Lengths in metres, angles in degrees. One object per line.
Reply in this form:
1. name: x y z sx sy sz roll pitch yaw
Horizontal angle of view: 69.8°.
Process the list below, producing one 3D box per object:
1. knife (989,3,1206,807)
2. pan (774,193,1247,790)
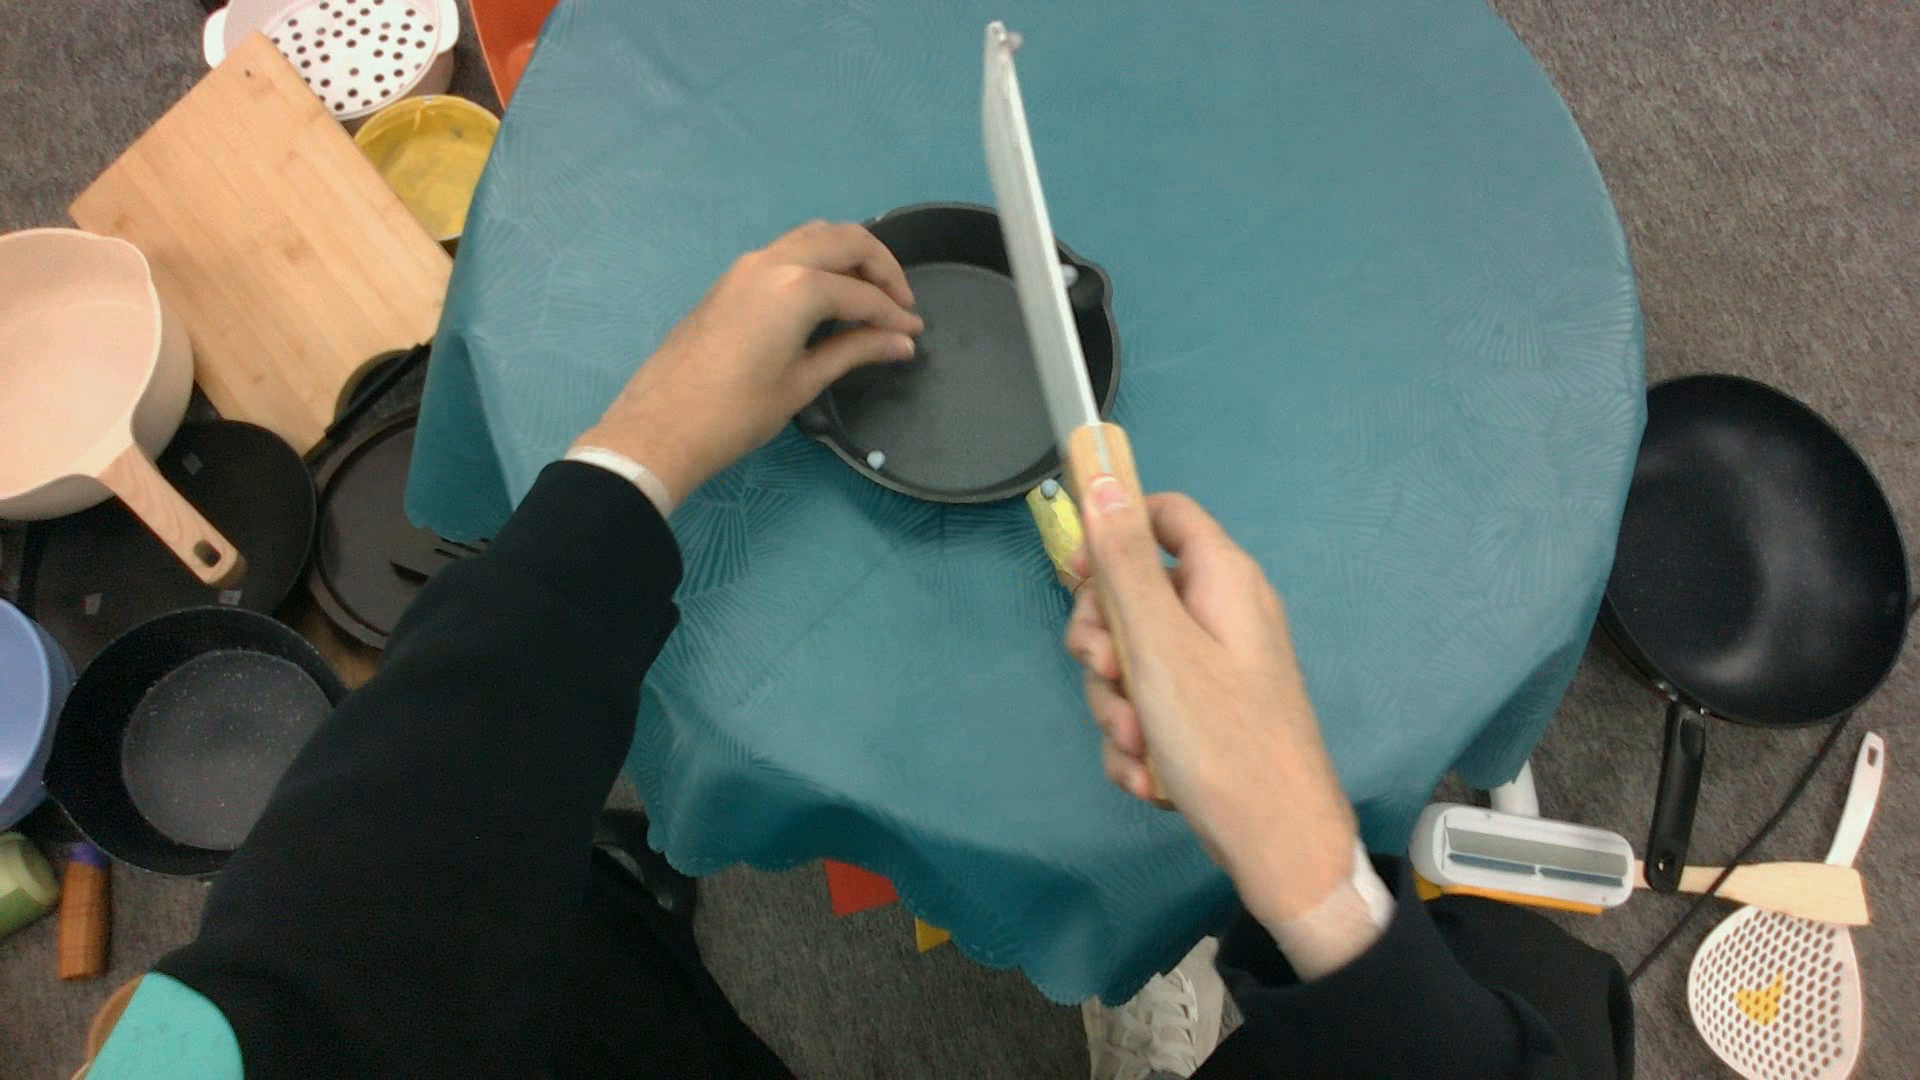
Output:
1. knife: 0.041 -0.057 0.508 0.022 0.113 0.316 -10 68 -2
2. pan: 0.033 -0.023 0.631 0.169 0.049 0.324 -26 73 -15
